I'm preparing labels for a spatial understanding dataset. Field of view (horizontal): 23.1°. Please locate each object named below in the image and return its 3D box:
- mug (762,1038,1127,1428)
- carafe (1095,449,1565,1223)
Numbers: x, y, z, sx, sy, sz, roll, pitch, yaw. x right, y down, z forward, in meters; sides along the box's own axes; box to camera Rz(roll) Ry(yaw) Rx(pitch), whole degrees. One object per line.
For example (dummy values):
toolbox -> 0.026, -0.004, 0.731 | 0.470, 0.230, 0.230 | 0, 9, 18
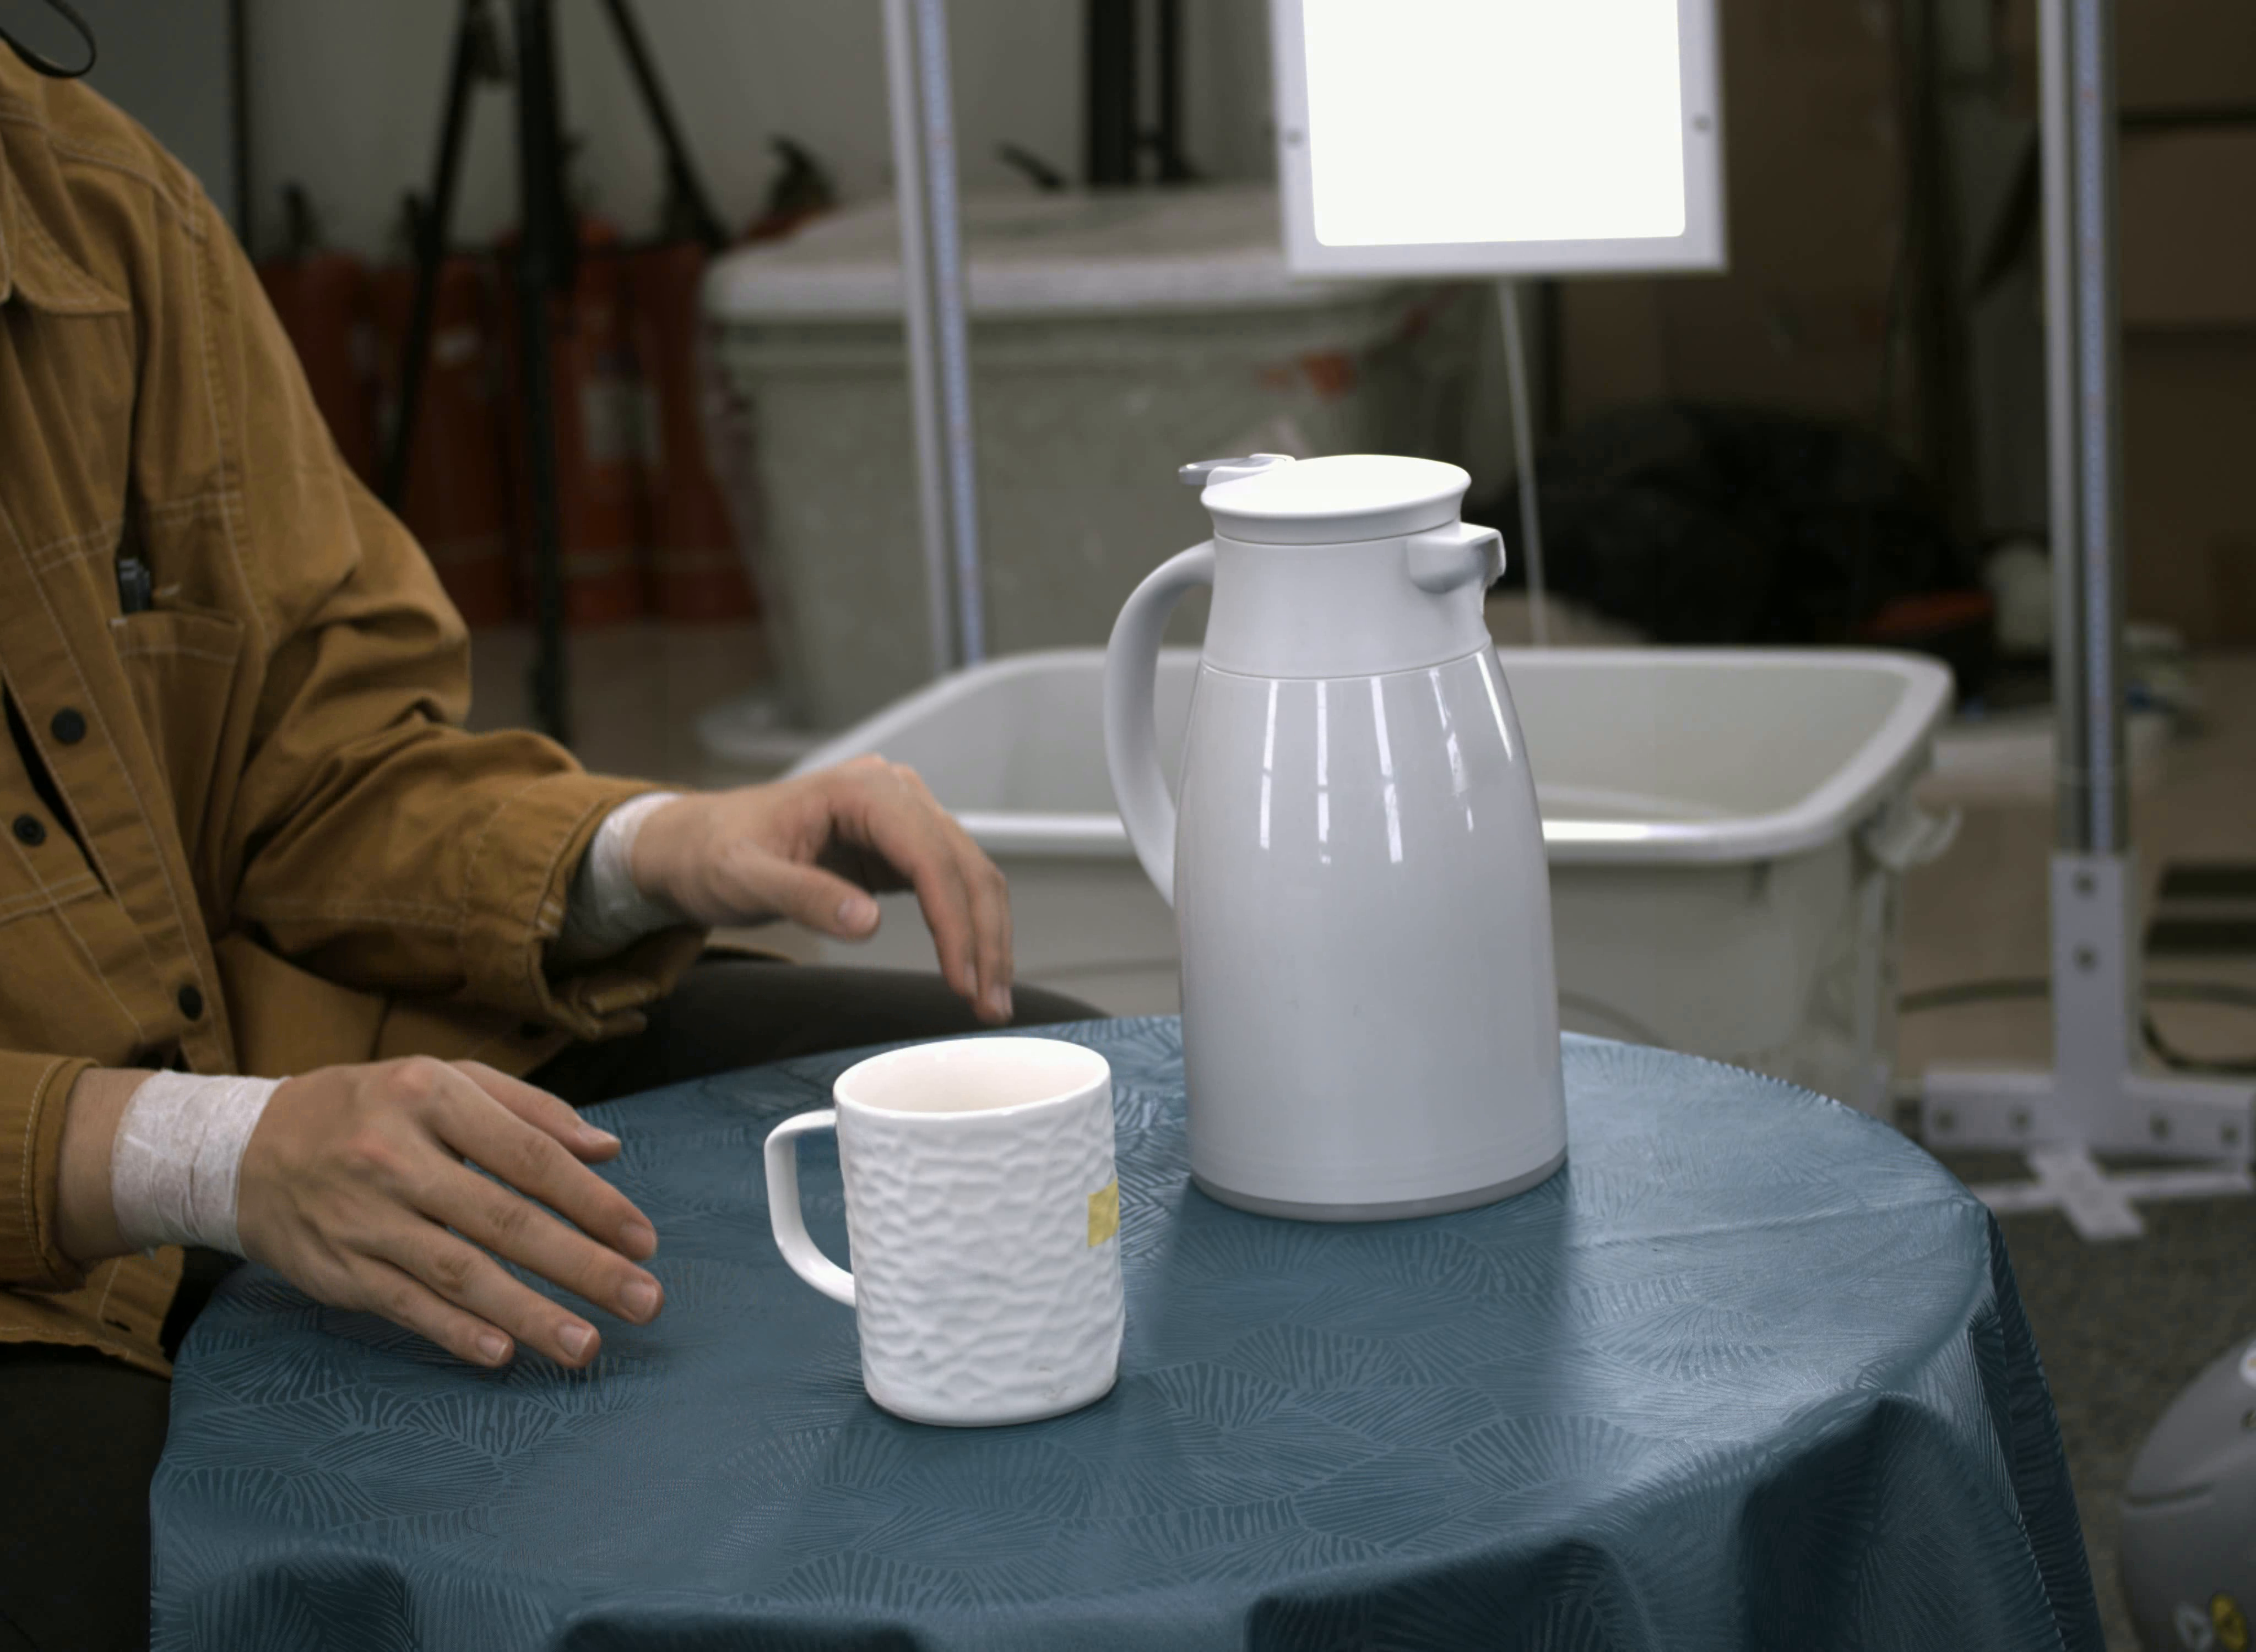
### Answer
mug -> -0.059, 0.125, 1.713 | 0.120, 0.102, 0.083 | 2, 14, 28
carafe -> 0.061, -0.004, 1.886 | 0.171, 0.249, 0.129 | 6, 18, 39
